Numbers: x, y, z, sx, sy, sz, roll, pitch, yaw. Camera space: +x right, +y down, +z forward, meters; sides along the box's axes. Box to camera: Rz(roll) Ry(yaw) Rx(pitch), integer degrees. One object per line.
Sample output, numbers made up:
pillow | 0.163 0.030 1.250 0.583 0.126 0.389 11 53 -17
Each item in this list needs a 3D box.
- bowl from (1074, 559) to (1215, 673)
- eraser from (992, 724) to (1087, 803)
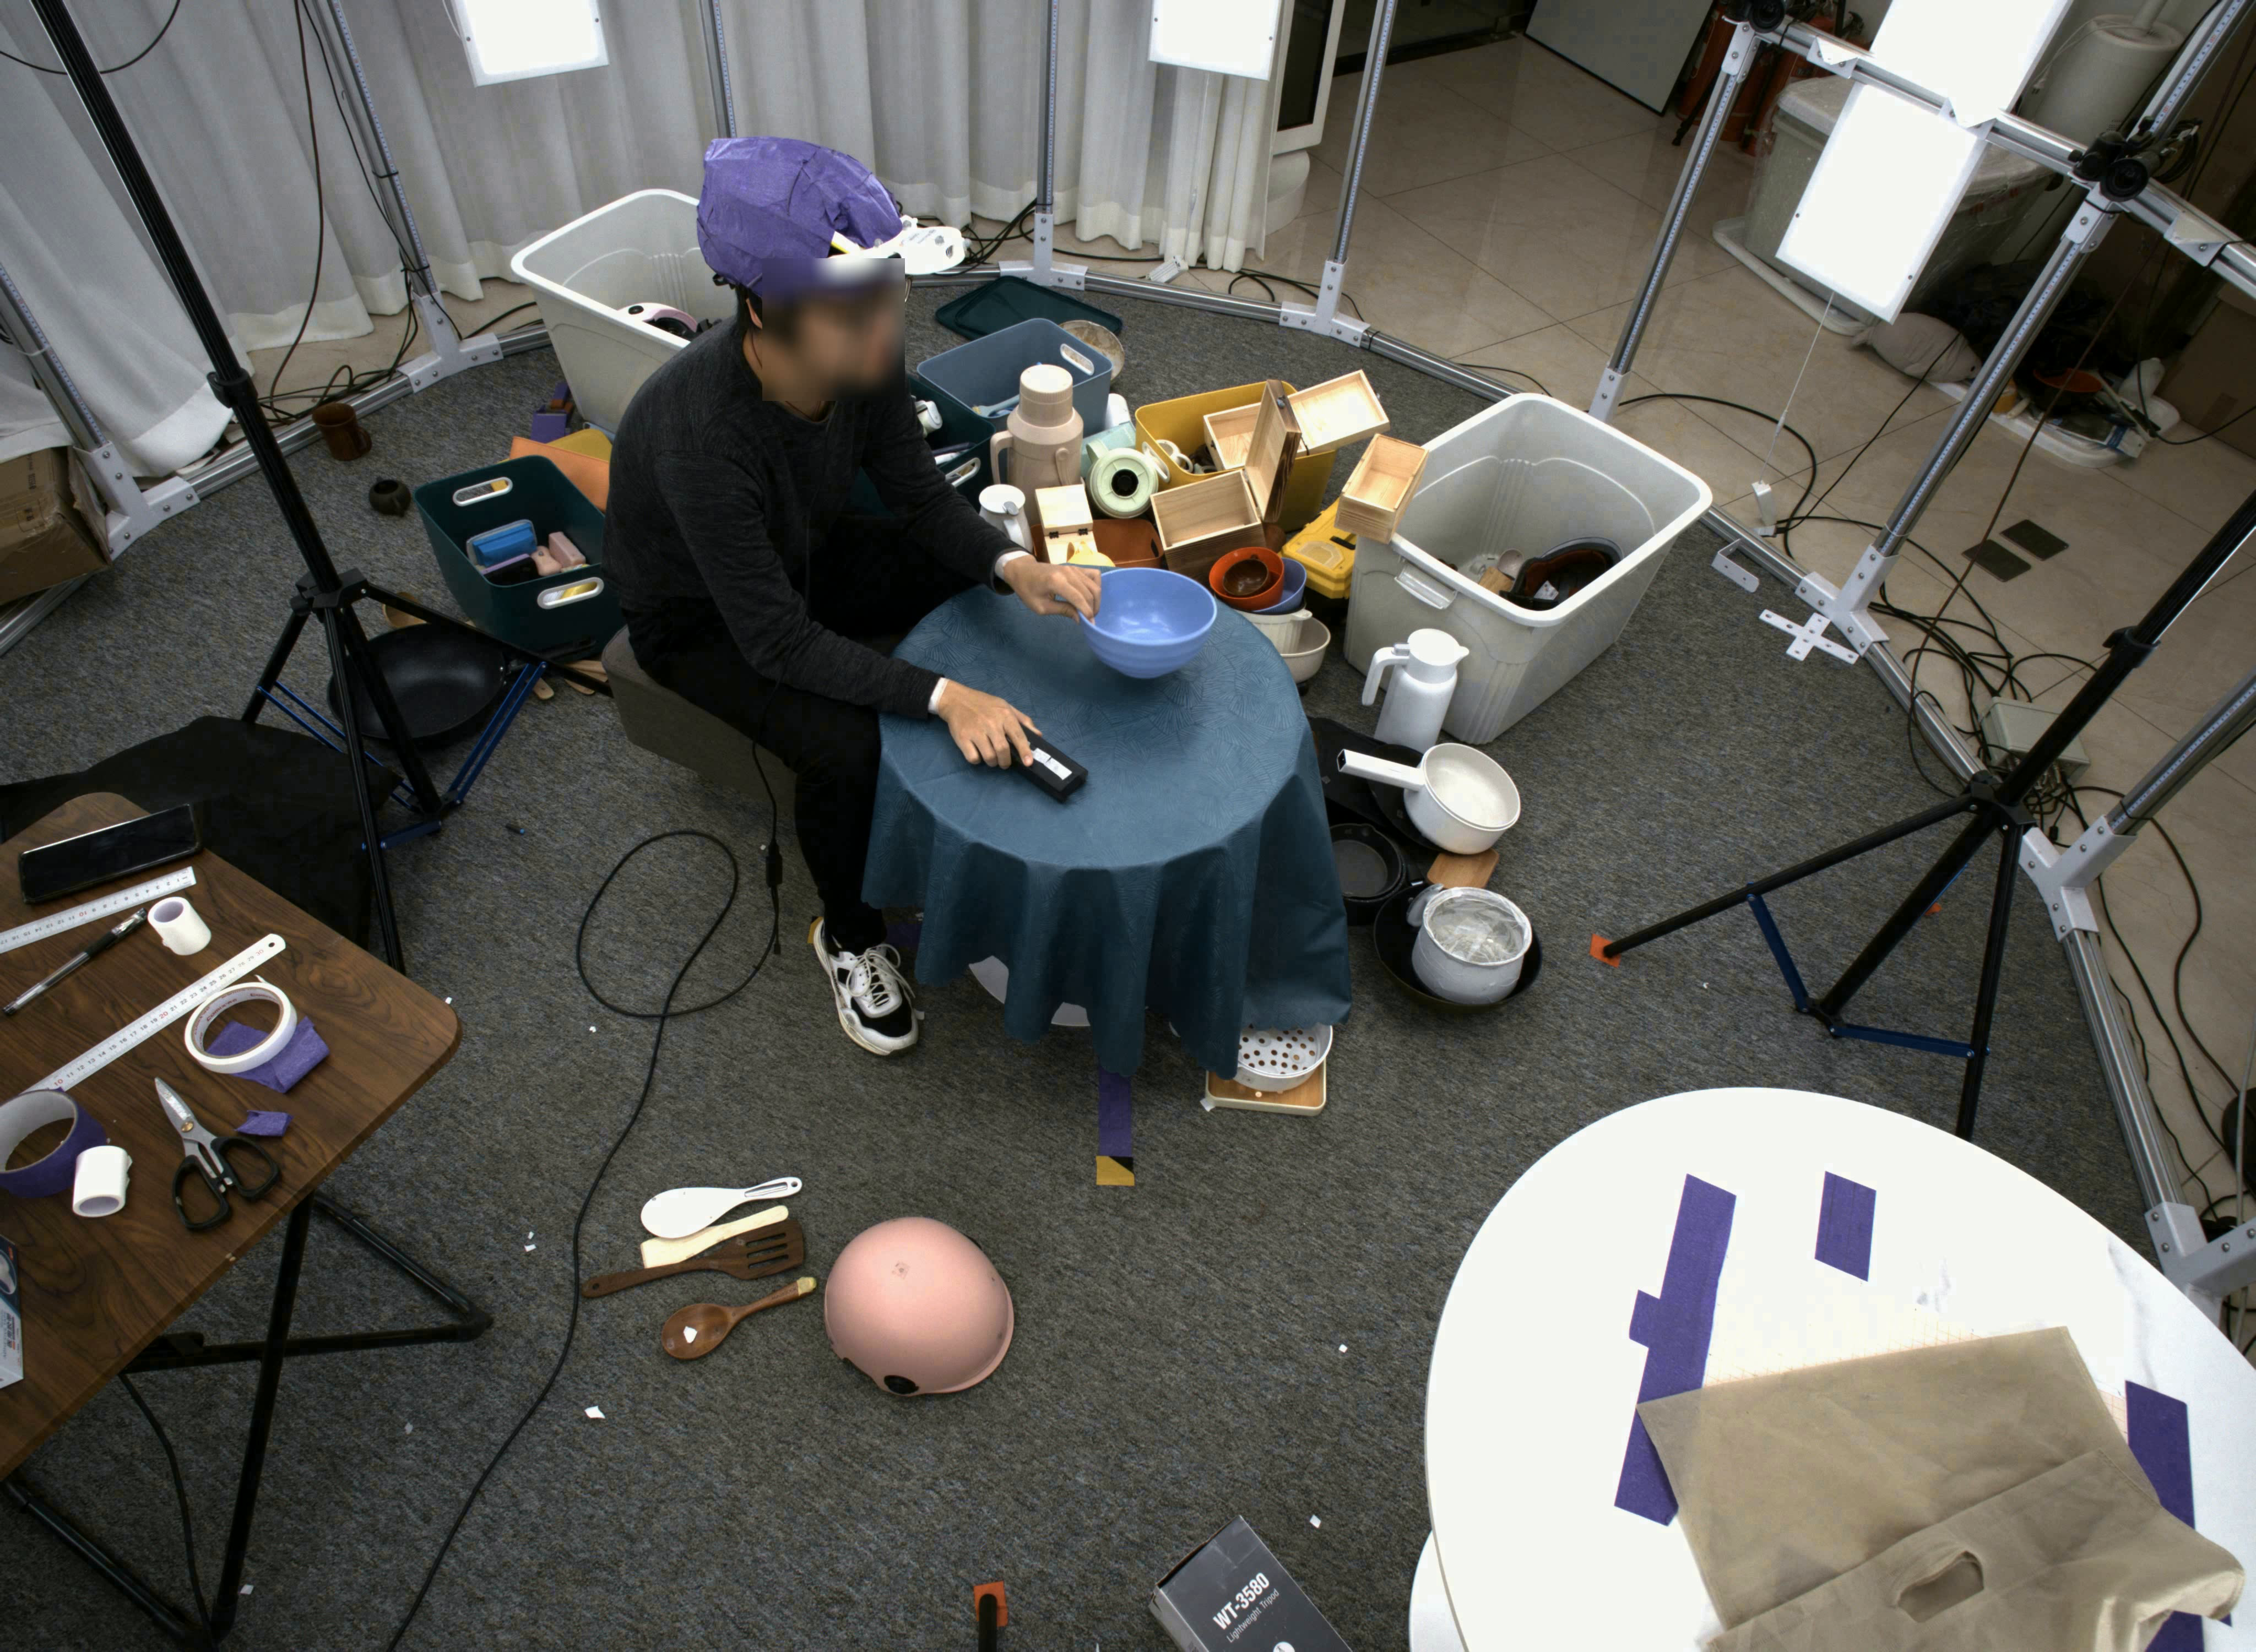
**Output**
bowl | 0.021 -0.283 1.817 0.196 0.093 0.201 1 45 -1
eraser | -0.118 -0.084 1.712 0.127 0.030 0.054 34 60 21
